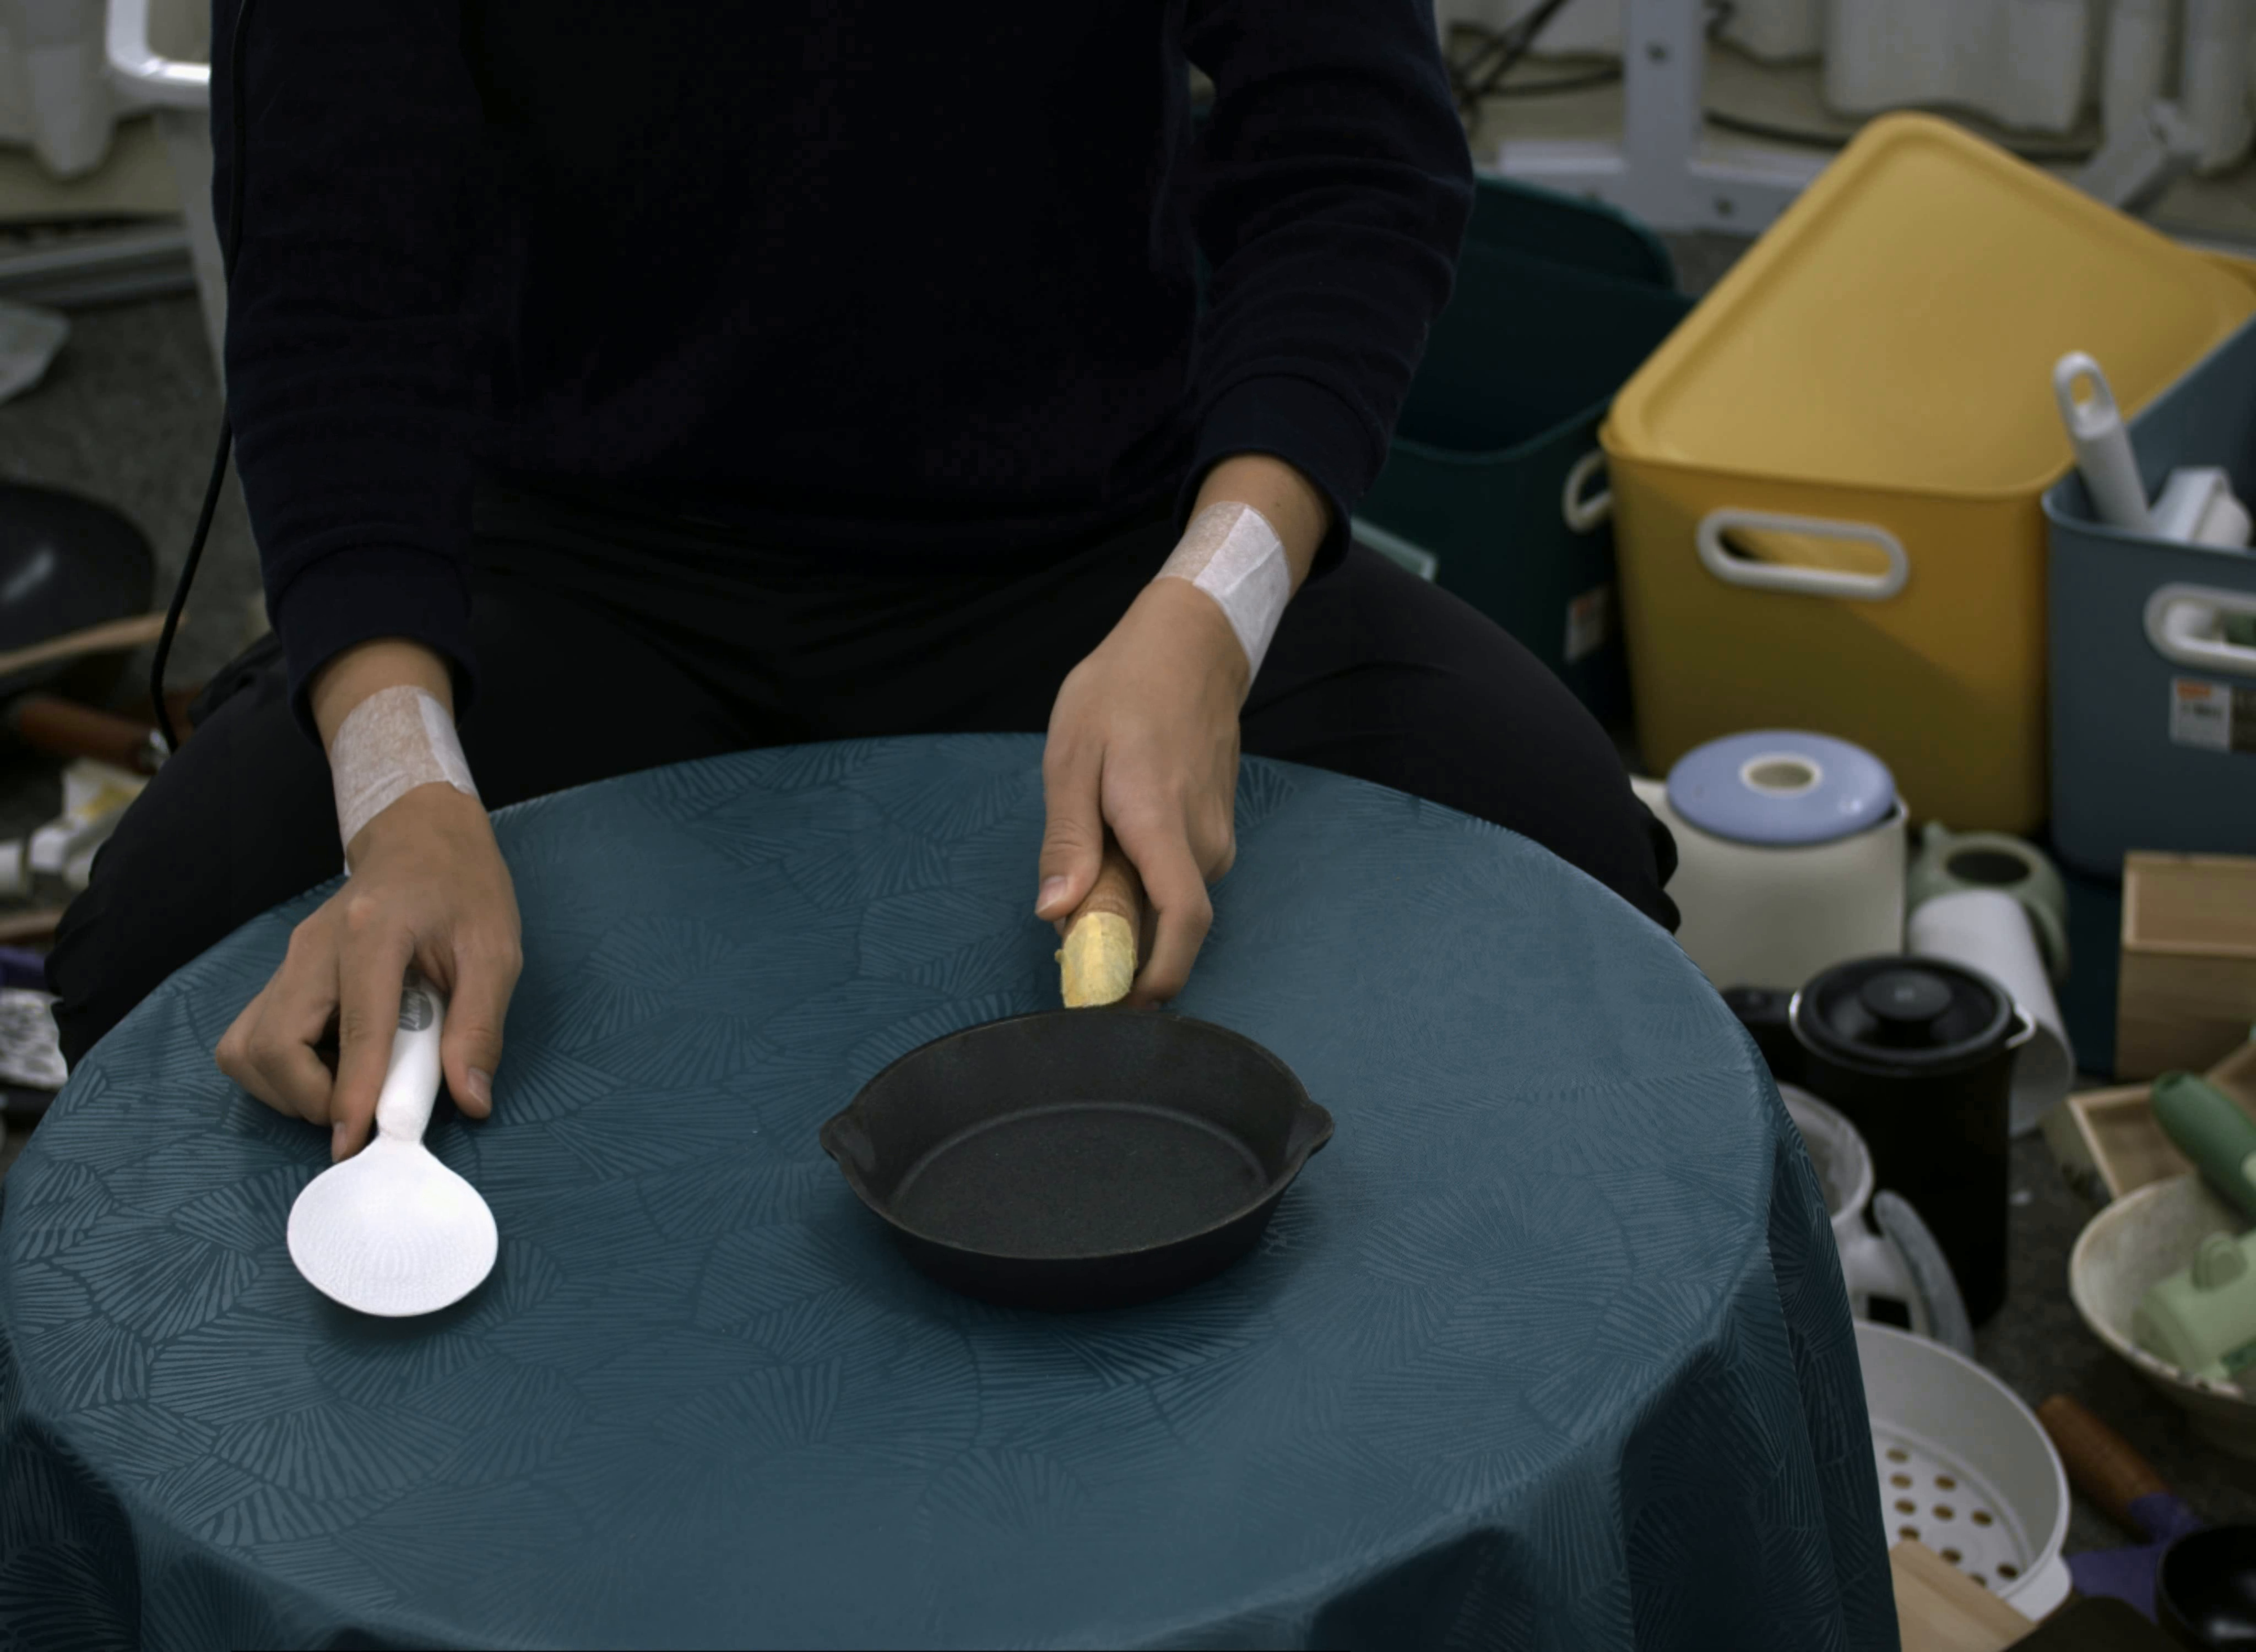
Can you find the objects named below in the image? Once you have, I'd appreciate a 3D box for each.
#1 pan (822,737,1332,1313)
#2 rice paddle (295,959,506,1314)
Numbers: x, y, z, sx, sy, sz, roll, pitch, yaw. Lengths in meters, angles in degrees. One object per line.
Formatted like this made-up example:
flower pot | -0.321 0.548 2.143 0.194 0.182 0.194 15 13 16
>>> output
pan | -0.009 0.065 1.917 0.168 0.049 0.329 0 29 6
rice paddle | -0.243 0.106 1.884 0.068 0.029 0.208 4 26 -8
